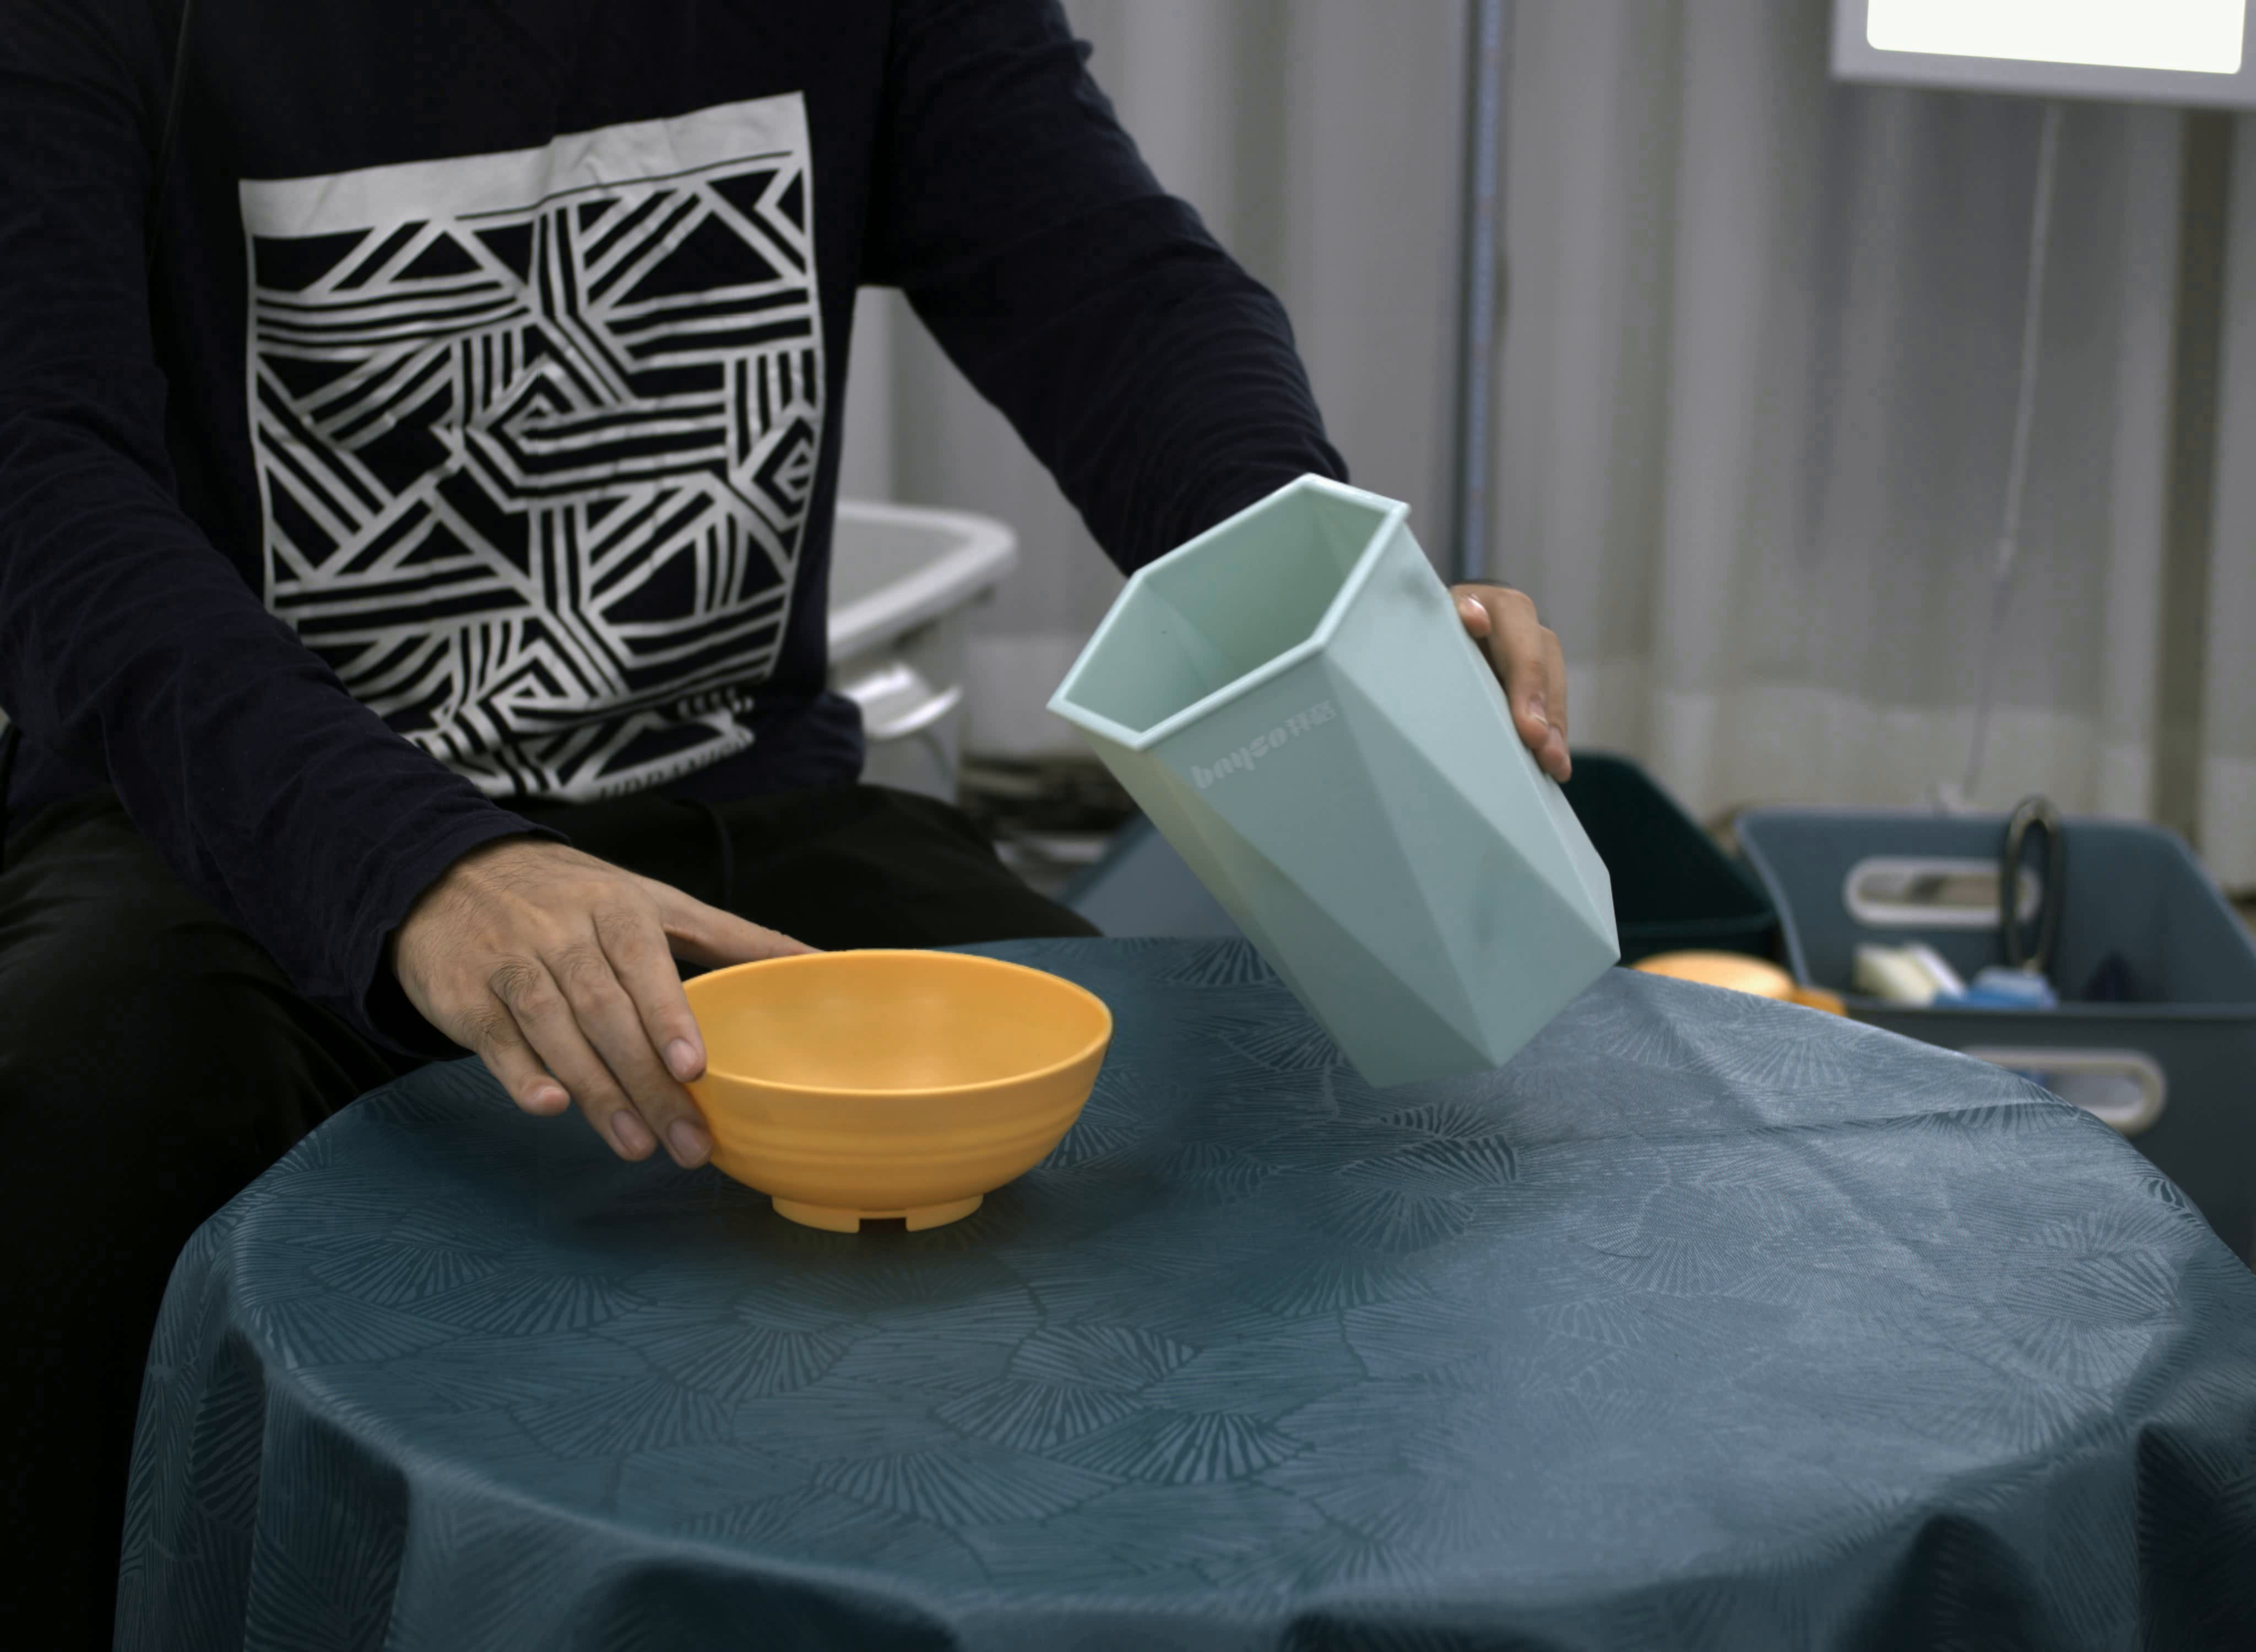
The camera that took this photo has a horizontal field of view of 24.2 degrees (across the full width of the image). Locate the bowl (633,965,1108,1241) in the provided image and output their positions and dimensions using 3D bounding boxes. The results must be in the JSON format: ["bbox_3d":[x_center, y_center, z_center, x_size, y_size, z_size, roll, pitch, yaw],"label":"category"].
[{"bbox_3d":[-0.078,0.089,1.609,0.145,0.060,0.144,1,13,0],"label":"bowl"}]

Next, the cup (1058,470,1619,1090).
[{"bbox_3d":[0.075,-0.010,1.645,0.130,0.165,0.114,-28,25,13],"label":"cup"}]
